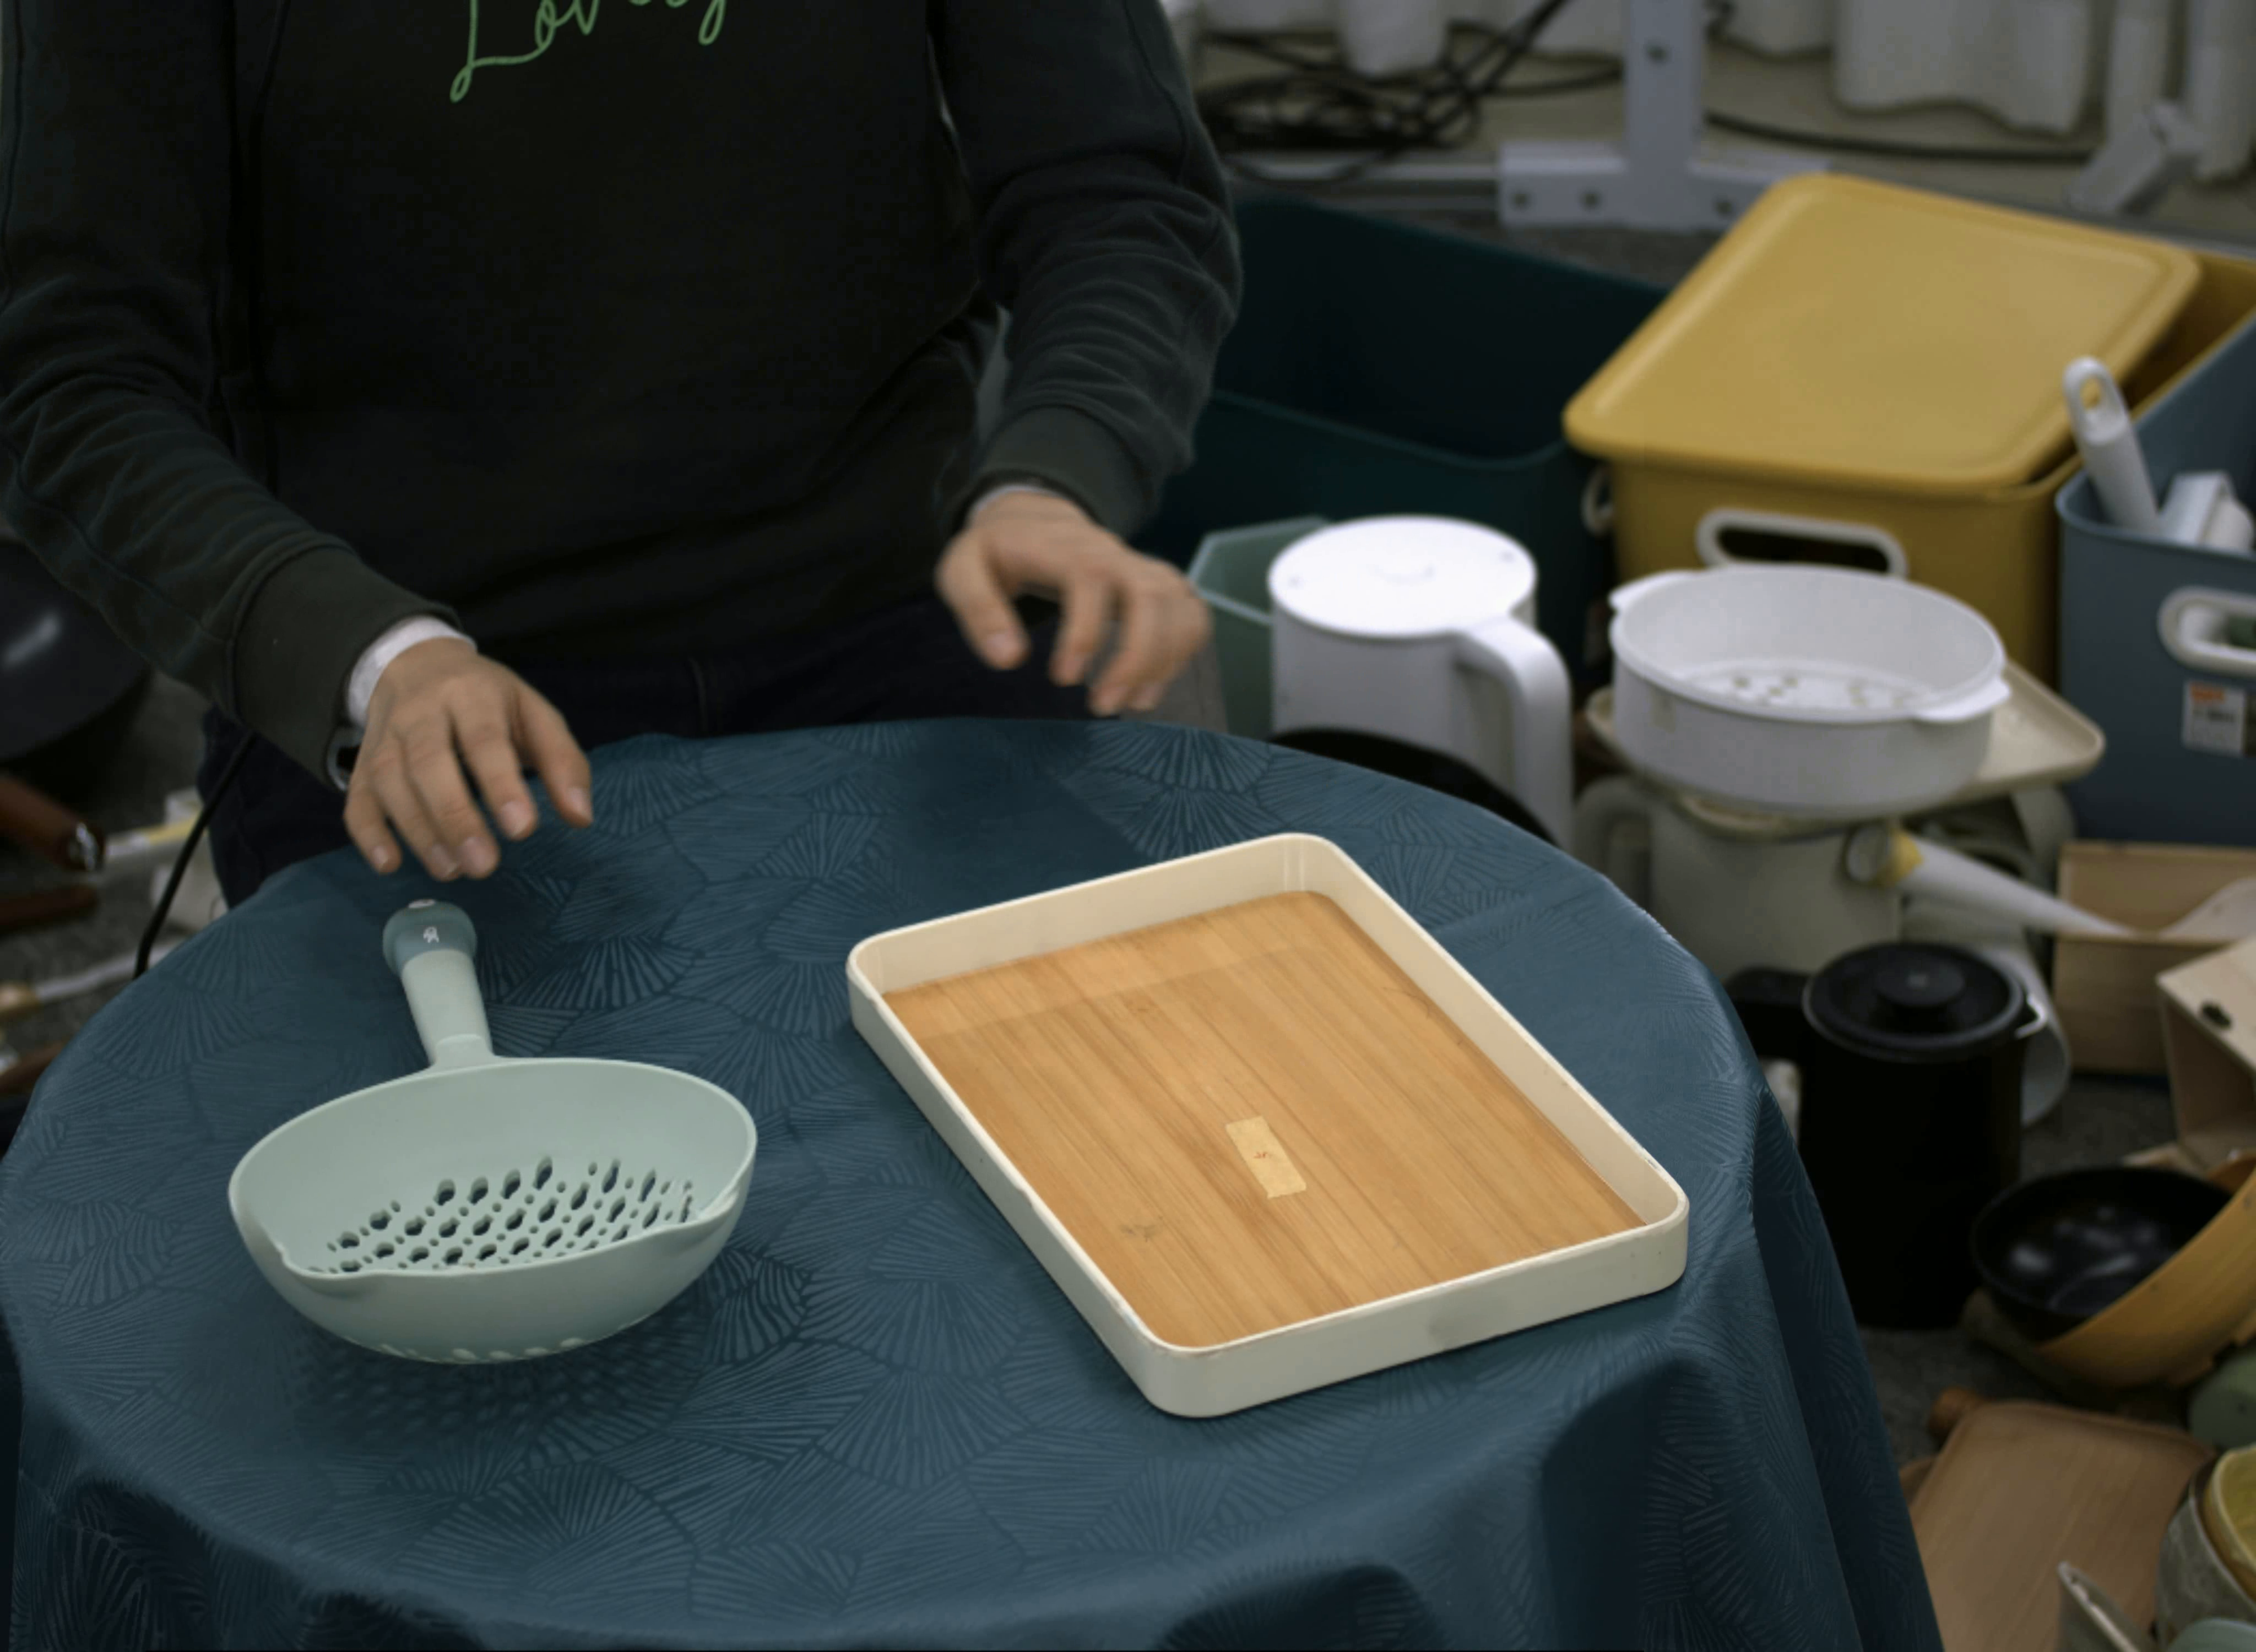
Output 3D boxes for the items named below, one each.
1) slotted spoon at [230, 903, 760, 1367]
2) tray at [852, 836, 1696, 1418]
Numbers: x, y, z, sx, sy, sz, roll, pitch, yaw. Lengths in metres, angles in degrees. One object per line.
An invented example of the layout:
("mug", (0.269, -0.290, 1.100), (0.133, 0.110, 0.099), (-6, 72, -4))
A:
("slotted spoon", (-0.220, 0.088, 1.879), (0.169, 0.074, 0.363), (-7, 27, -10))
("tray", (0.043, 0.095, 1.881), (0.192, 0.027, 0.302), (-13, 29, -19))
